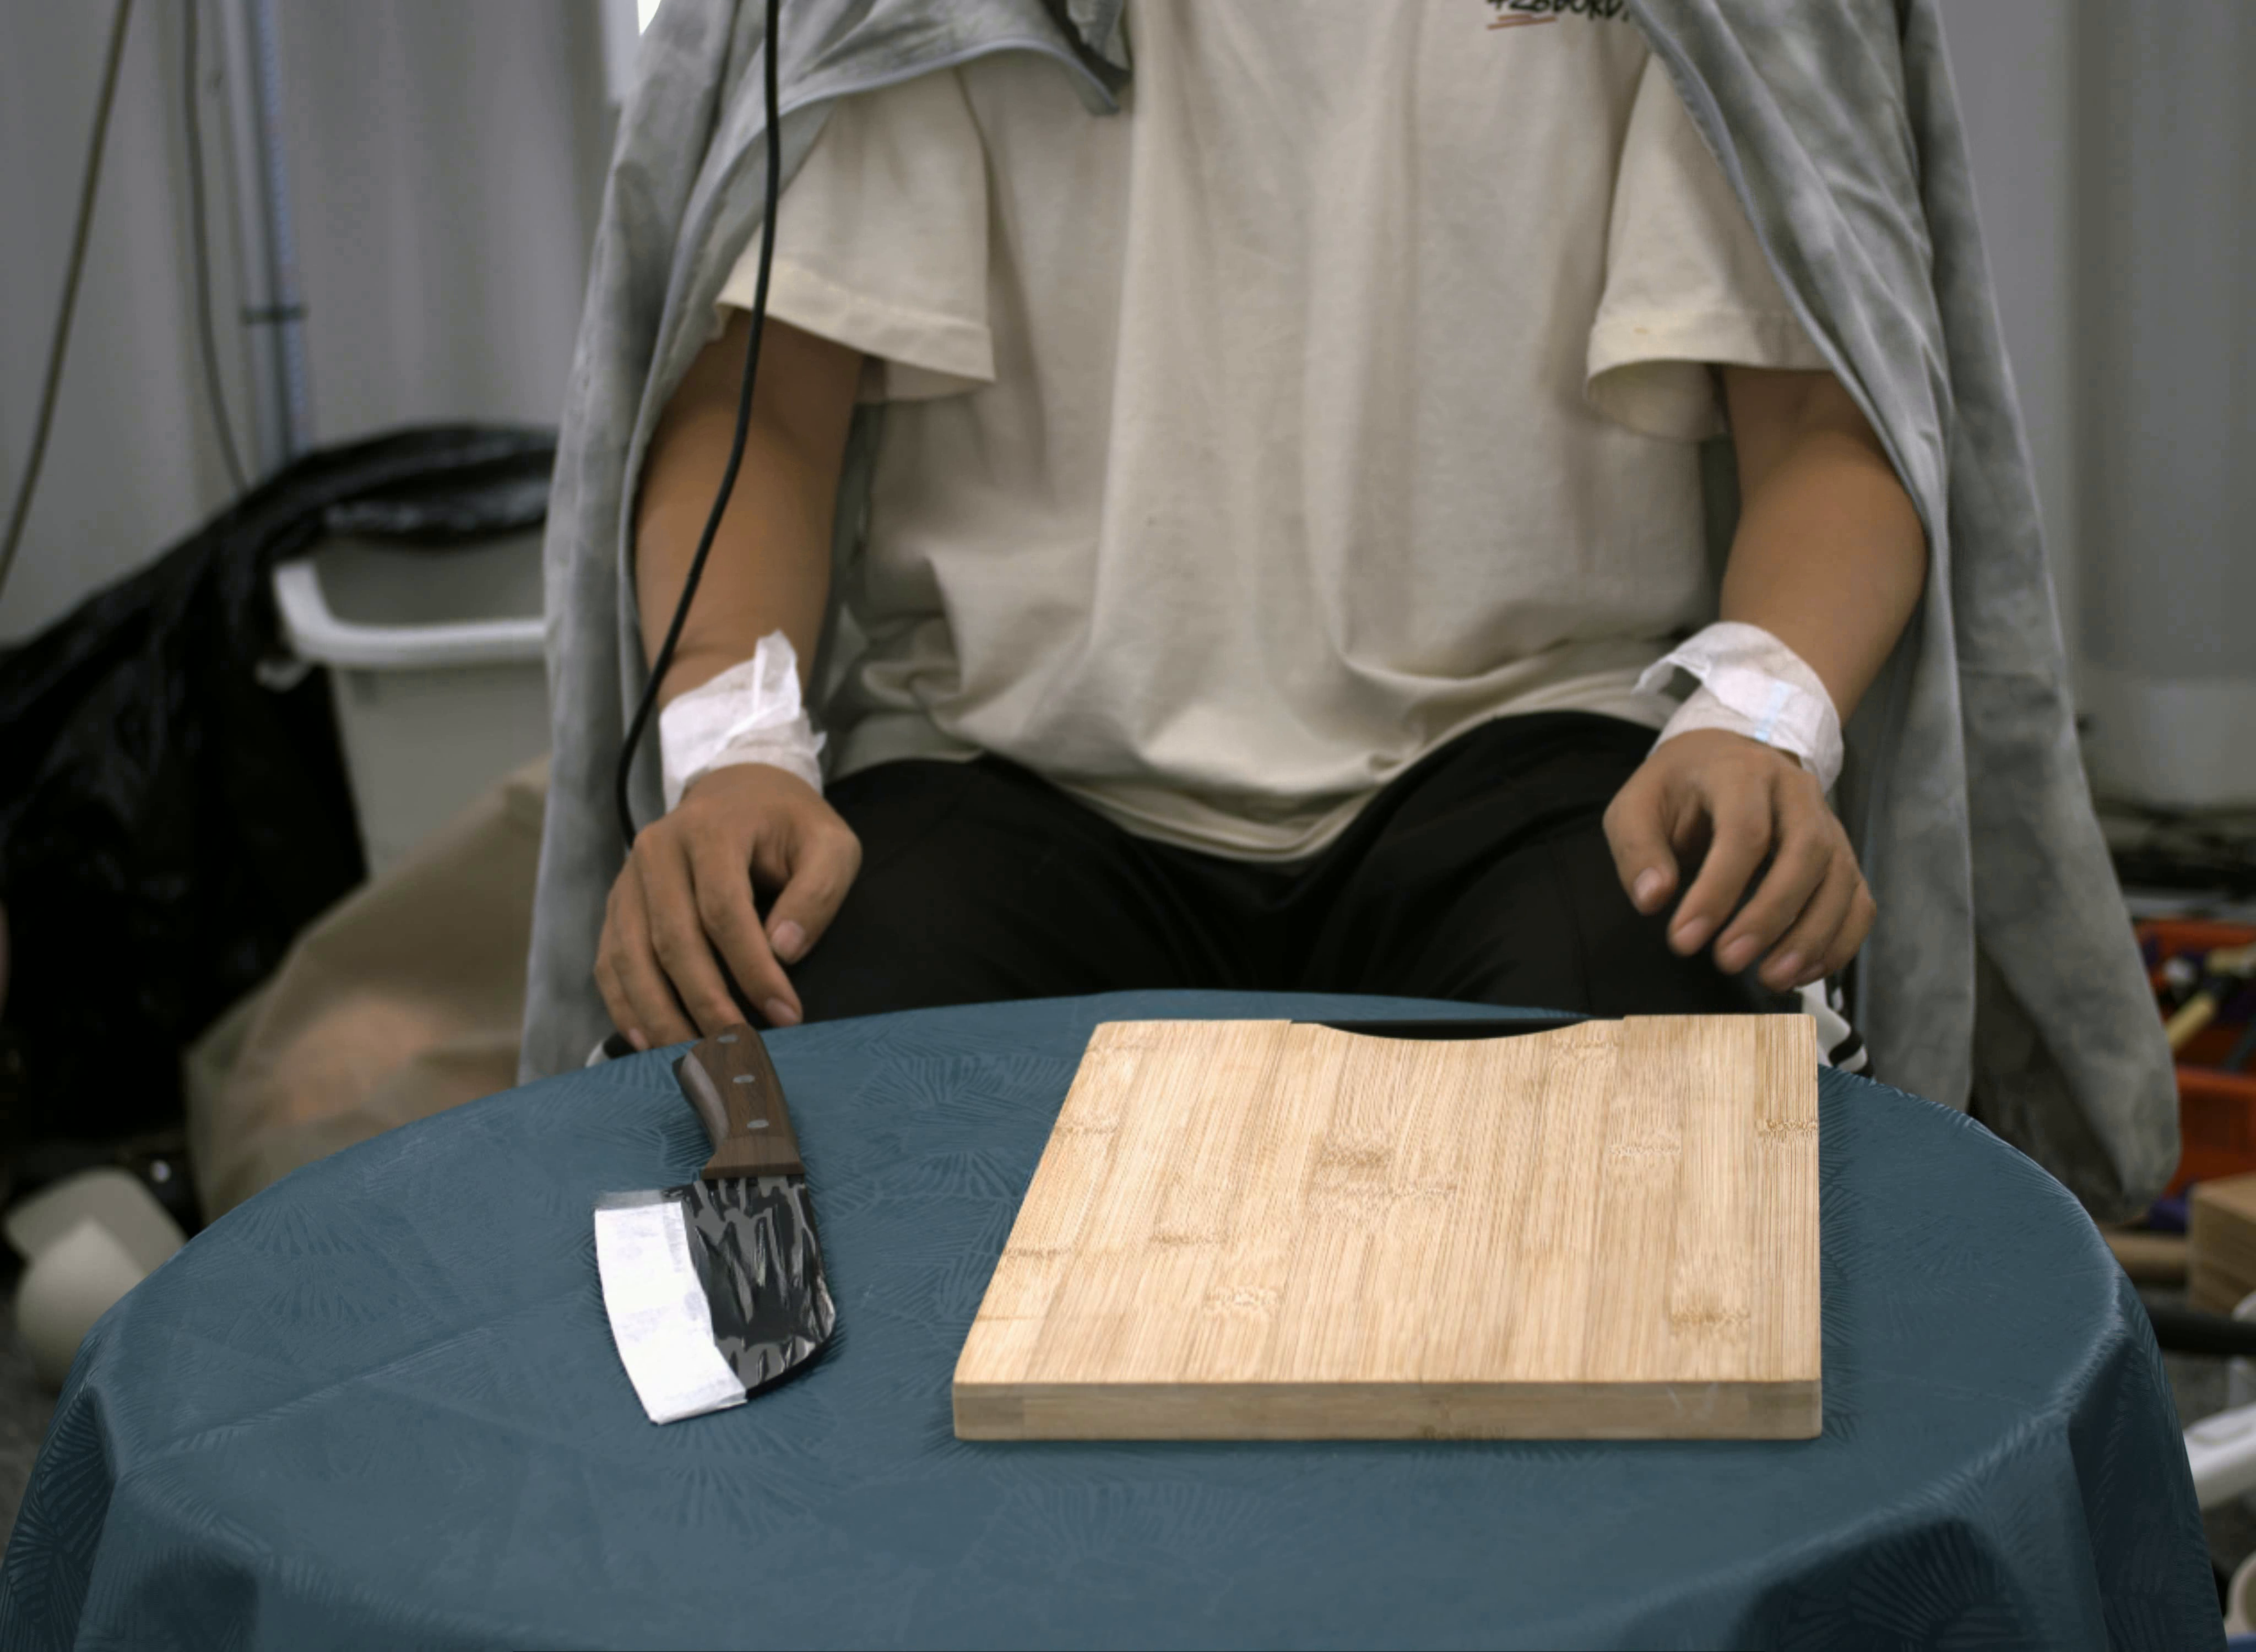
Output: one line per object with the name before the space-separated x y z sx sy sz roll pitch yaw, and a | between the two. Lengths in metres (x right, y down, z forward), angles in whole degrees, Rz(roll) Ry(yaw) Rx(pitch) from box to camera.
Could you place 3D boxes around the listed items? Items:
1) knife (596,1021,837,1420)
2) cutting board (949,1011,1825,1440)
knife | -0.129 0.121 1.685 0.068 0.024 0.302 -6 18 -5
cutting board | 0.090 0.116 1.666 0.250 0.023 0.350 -1 15 6
